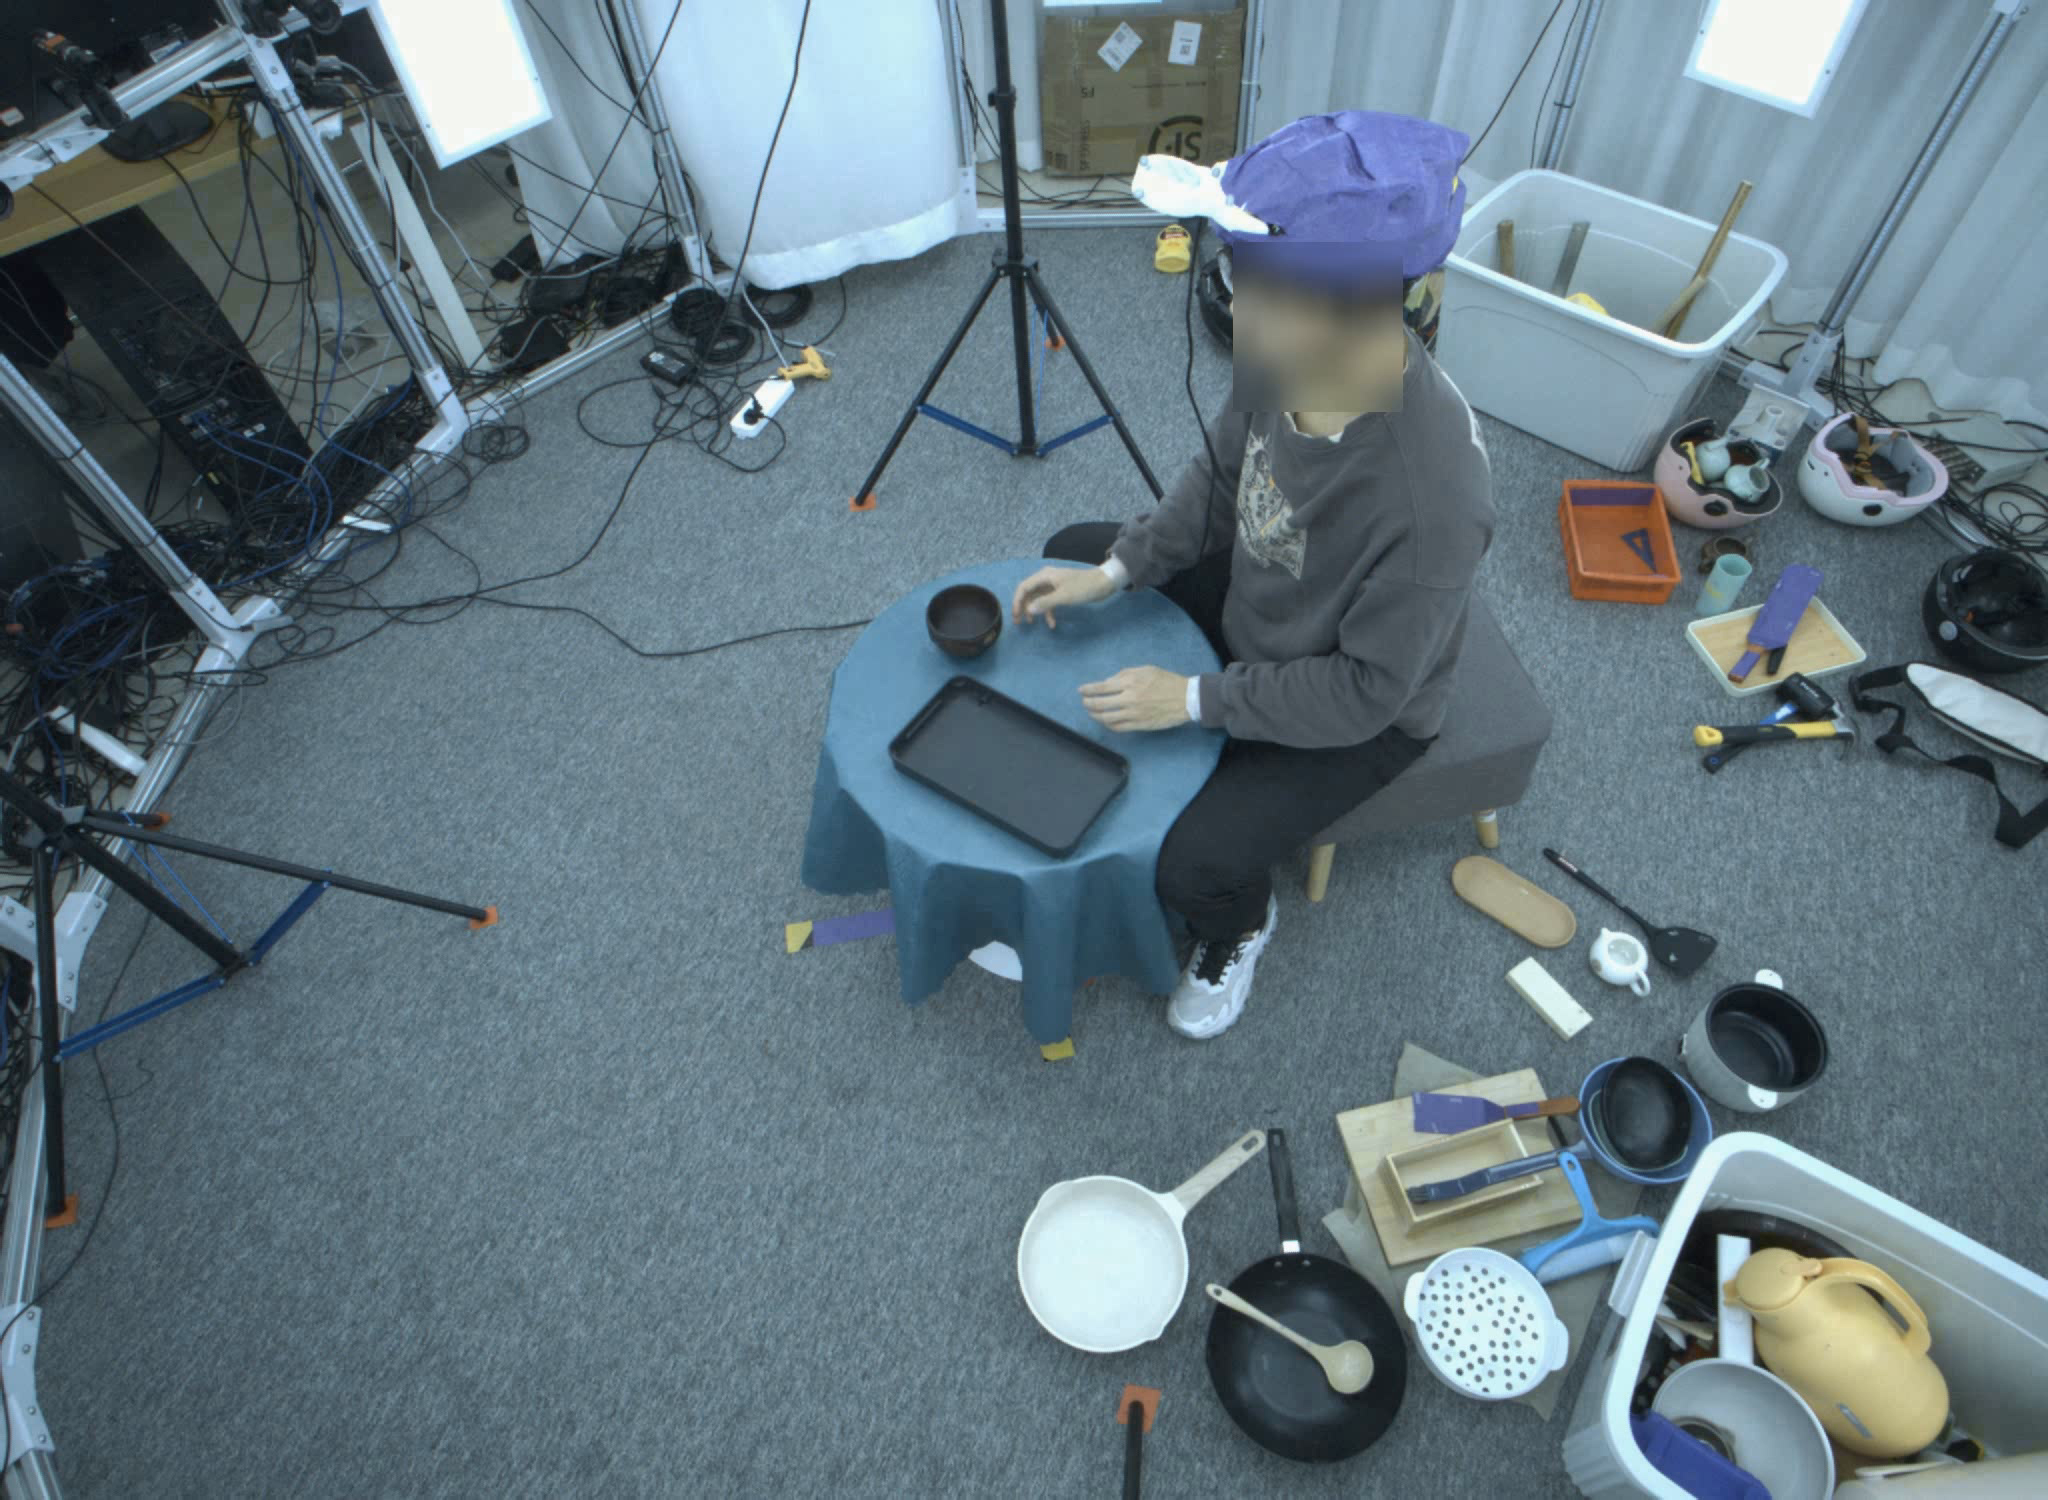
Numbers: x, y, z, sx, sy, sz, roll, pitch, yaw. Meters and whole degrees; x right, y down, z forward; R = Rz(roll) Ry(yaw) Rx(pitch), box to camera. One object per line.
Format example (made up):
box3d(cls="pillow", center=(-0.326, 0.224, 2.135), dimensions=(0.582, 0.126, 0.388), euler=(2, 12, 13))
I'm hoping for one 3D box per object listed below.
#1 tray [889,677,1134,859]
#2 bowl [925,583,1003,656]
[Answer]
box3d(cls="tray", center=(-0.018, 0.021, 1.749), dimensions=(0.313, 0.037, 0.185), euler=(26, 59, 20))
box3d(cls="bowl", center=(-0.091, -0.192, 1.882), dimensions=(0.118, 0.070, 0.117), euler=(0, 53, 1))
